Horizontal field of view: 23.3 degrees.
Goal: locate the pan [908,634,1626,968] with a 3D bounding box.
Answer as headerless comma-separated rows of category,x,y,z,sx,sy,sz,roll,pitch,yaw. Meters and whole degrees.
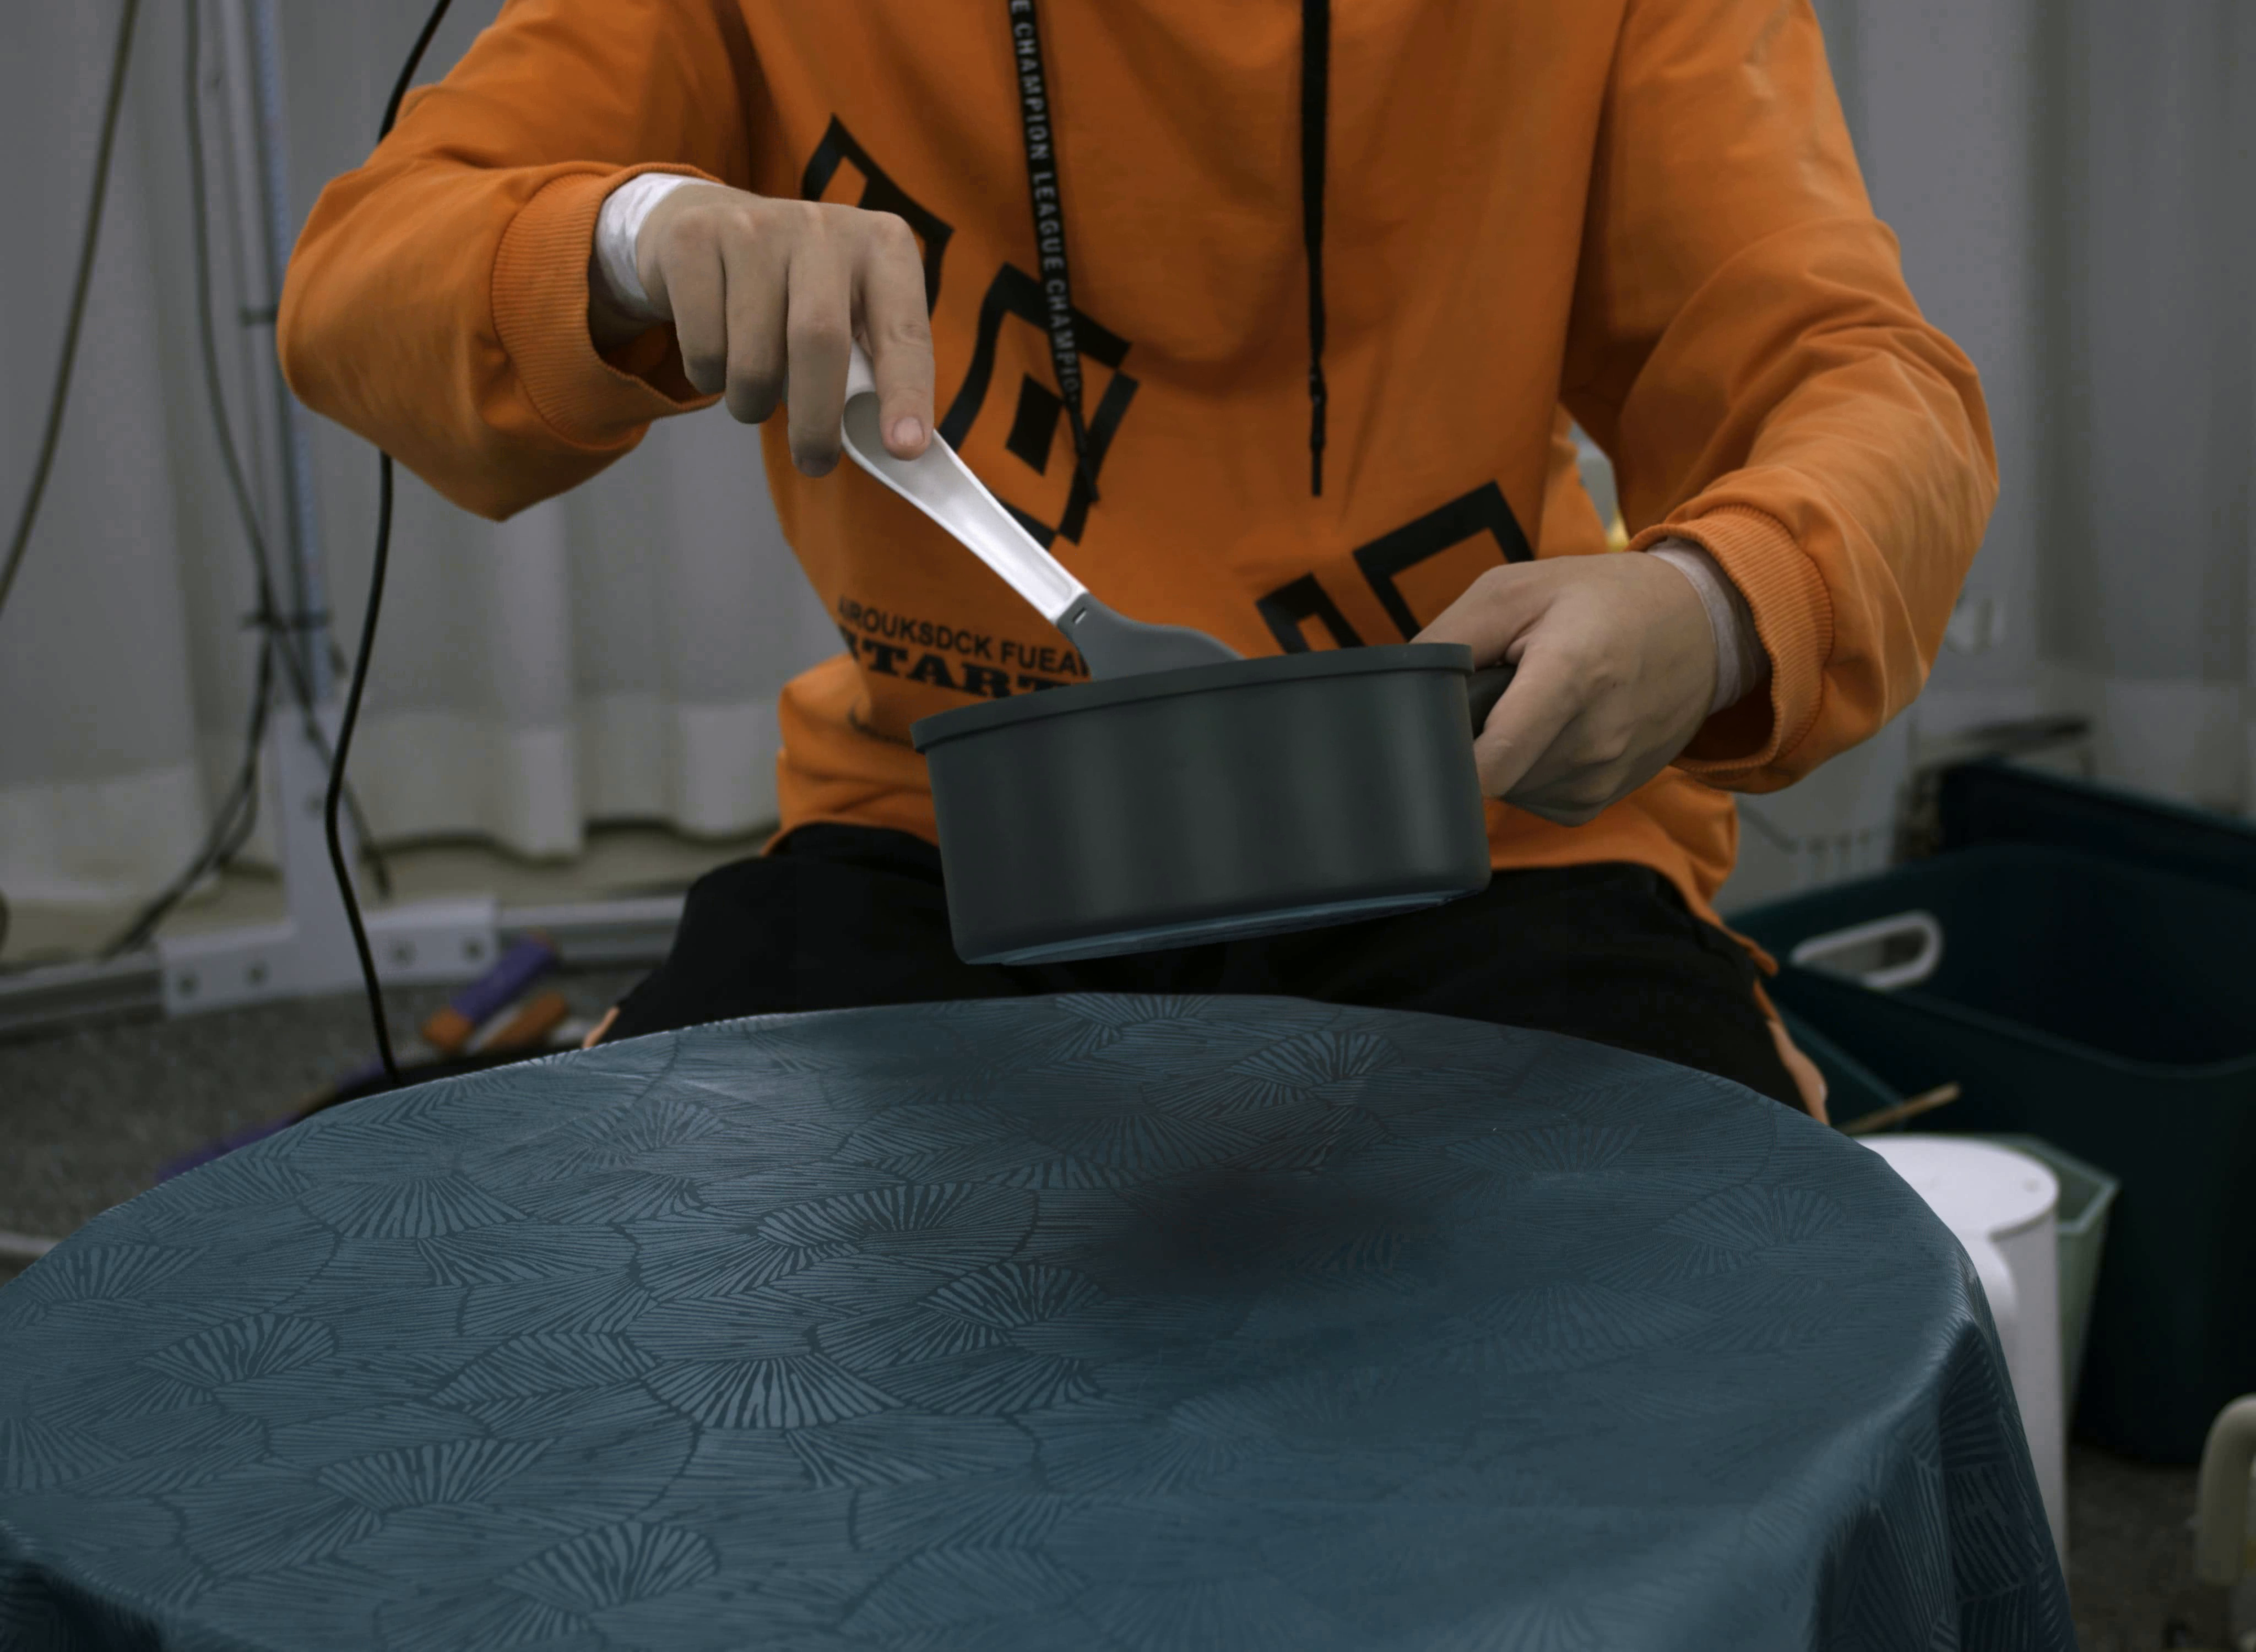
pan,0.067,-0.011,1.708,0.172,0.087,0.327,-9,-2,34

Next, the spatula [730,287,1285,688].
spatula,-0.029,-0.088,1.750,0.291,0.059,0.032,40,-2,33
